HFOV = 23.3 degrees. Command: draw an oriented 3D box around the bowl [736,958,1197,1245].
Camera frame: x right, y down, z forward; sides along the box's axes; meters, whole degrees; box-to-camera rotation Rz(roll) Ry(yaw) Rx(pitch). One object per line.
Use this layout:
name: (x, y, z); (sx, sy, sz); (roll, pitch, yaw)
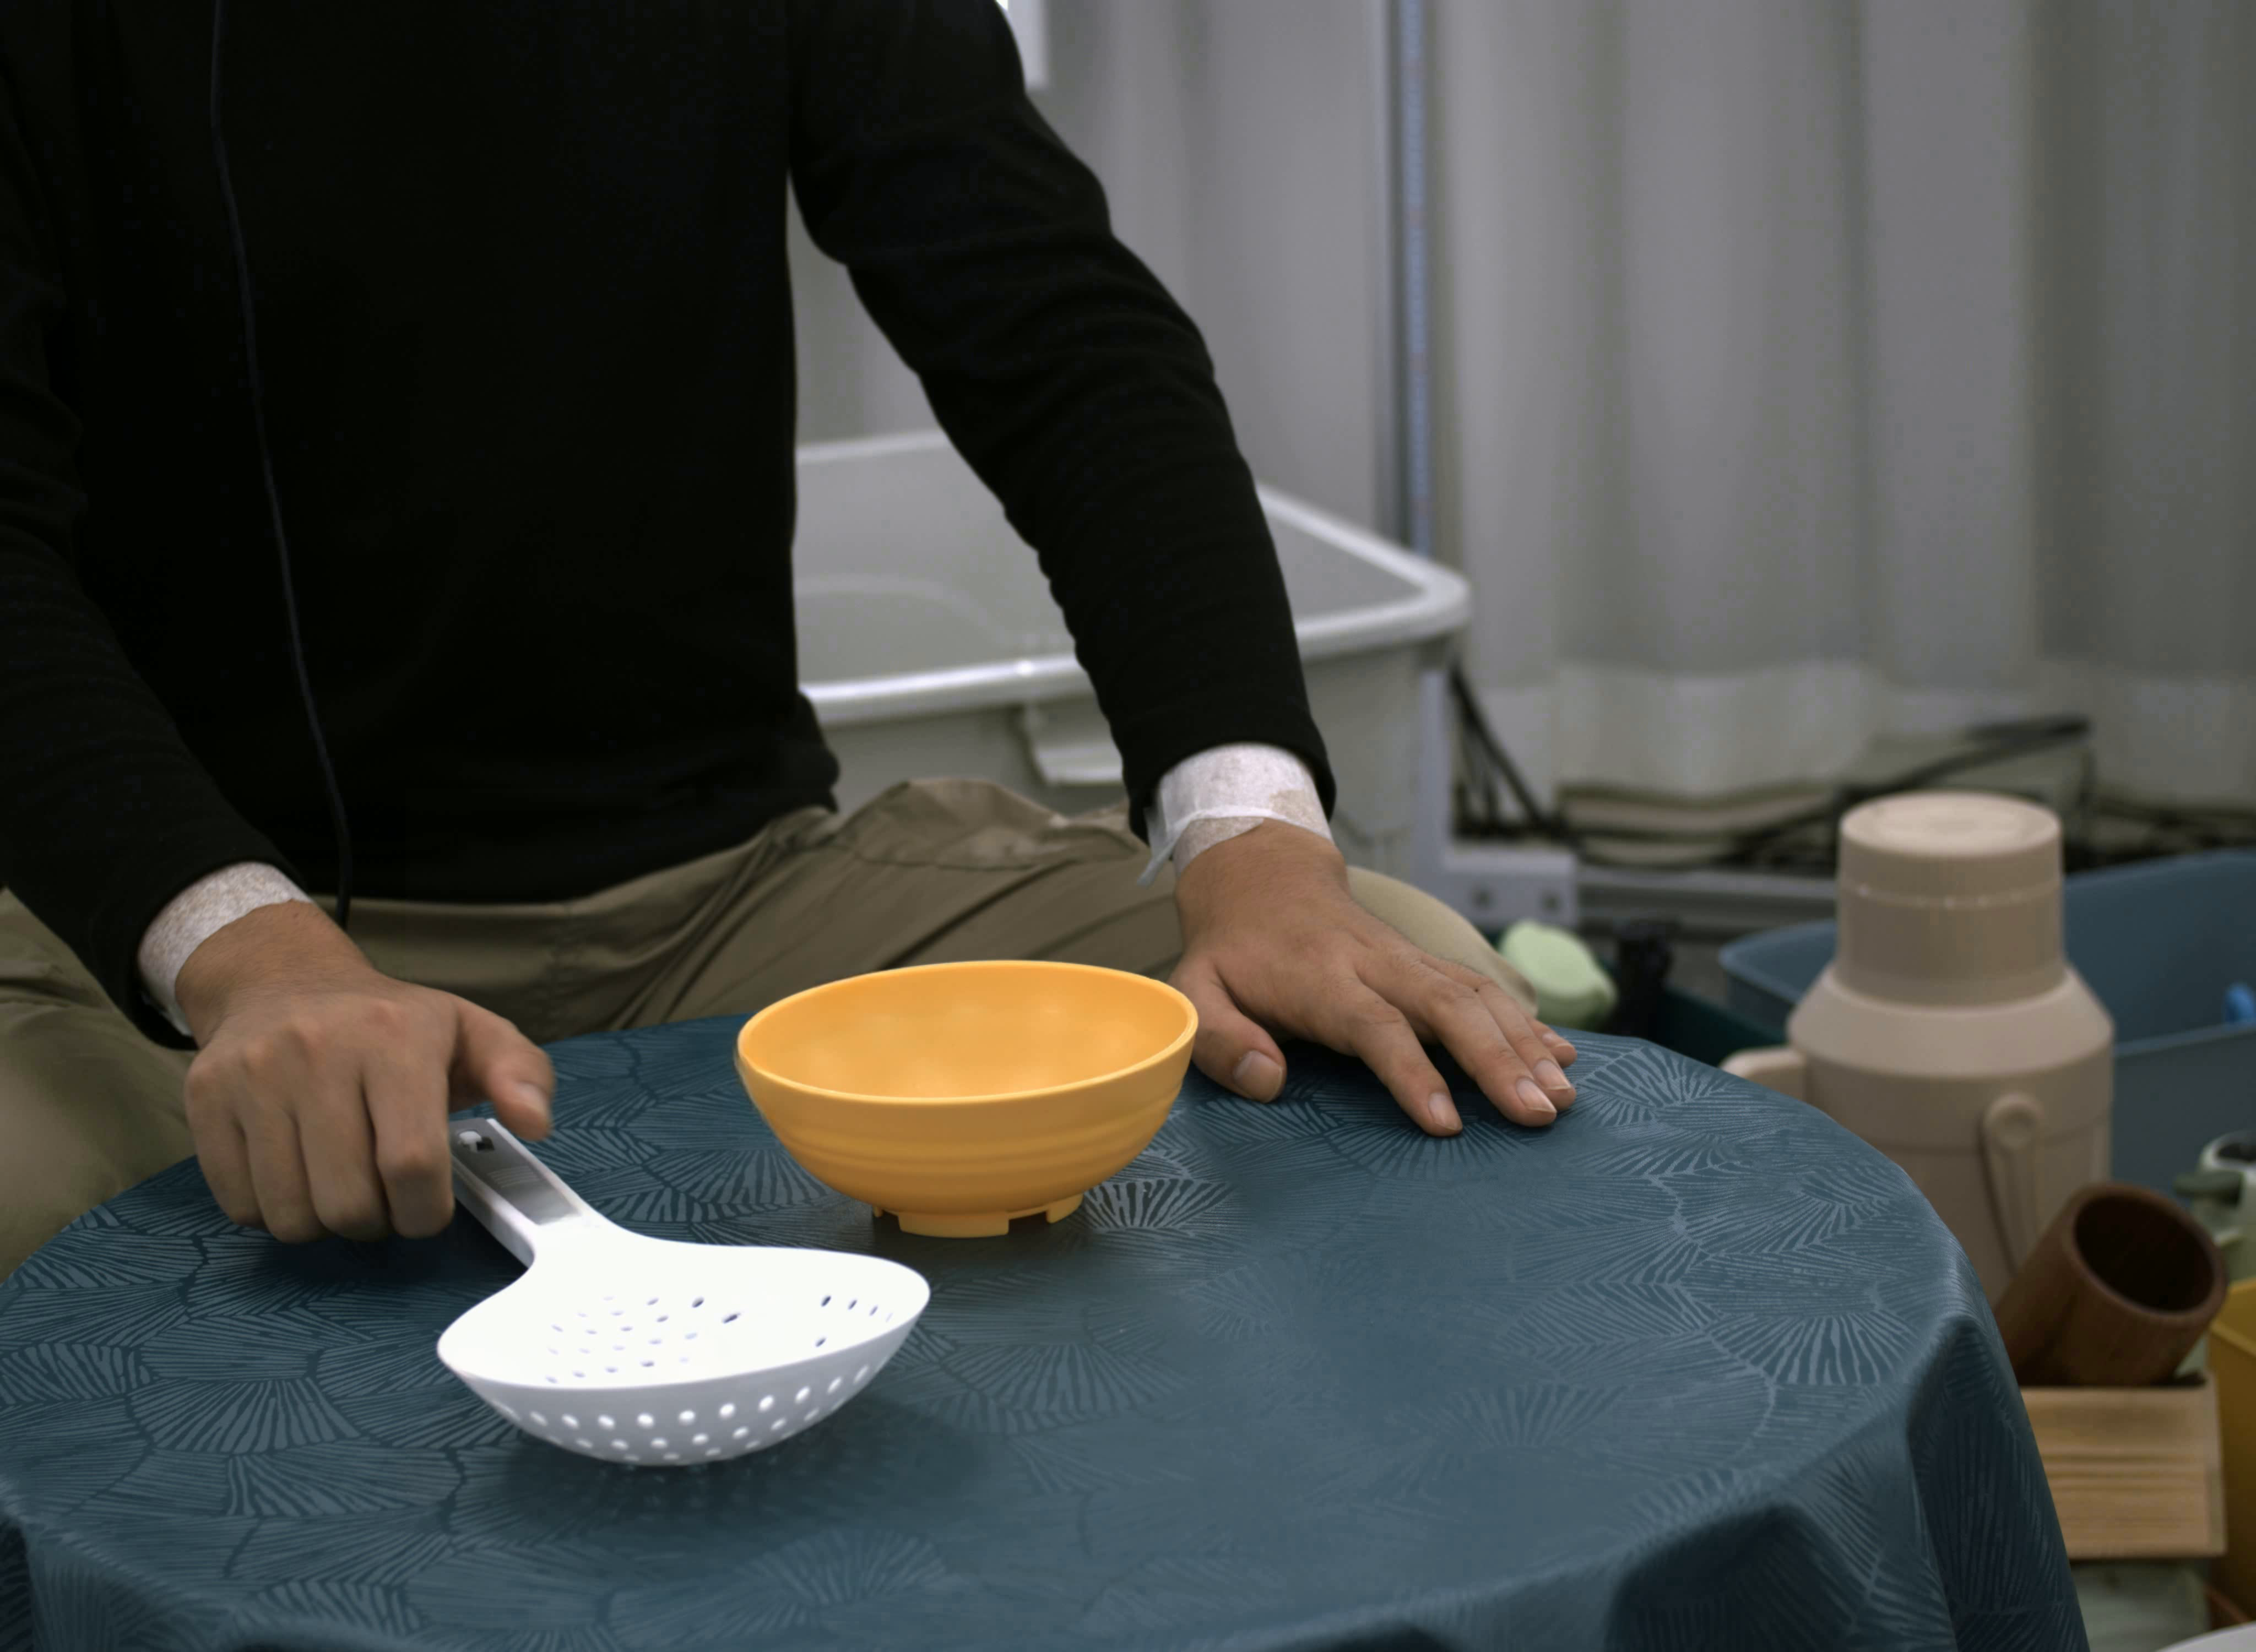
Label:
bowl: (-0.050, 0.091, 1.705); (0.145, 0.060, 0.146); (-1, 16, 0)

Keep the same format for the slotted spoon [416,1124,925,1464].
slotted spoon: (-0.160, 0.128, 1.607); (0.135, 0.045, 0.352); (-10, 15, -19)
